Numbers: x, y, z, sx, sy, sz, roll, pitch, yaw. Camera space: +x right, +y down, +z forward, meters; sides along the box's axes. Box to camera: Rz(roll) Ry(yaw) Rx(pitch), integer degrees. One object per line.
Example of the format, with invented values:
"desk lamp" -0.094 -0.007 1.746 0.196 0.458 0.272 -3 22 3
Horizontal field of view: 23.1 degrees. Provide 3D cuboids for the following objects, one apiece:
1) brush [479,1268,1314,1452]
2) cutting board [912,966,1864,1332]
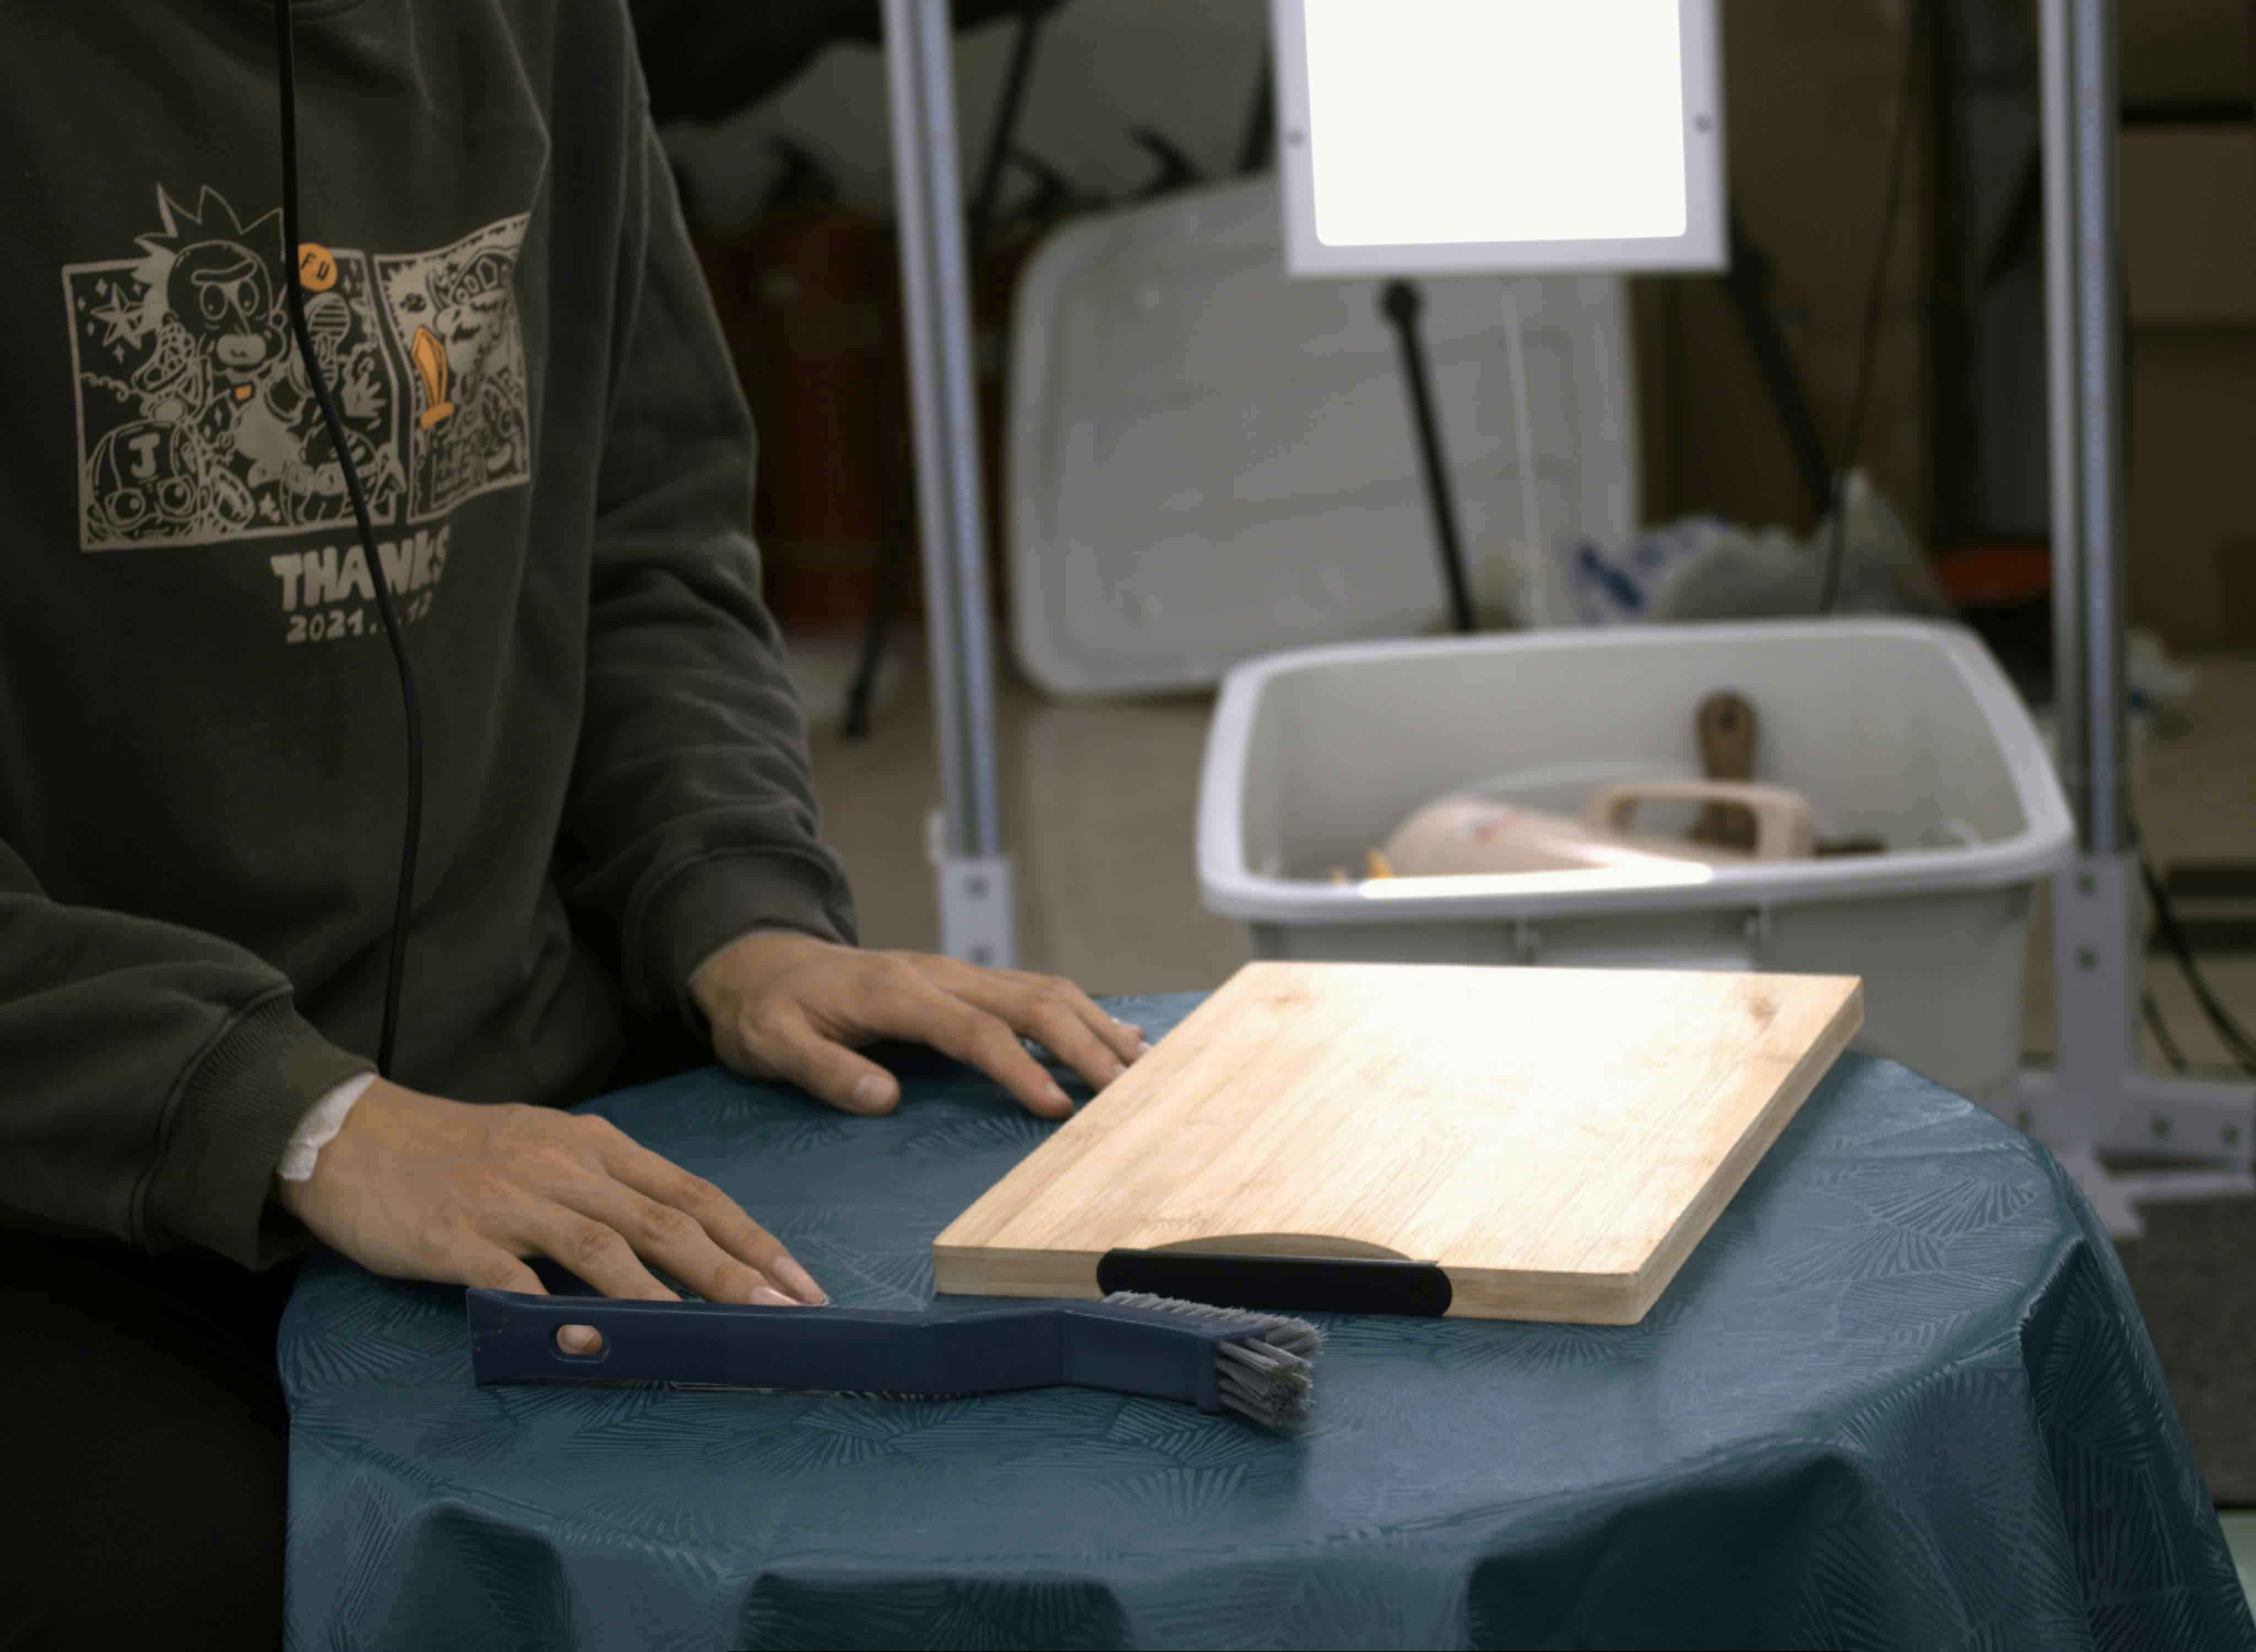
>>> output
"brush" -0.078 0.163 1.710 0.275 0.033 0.094 -1 15 13
"cutting board" 0.101 0.107 1.907 0.254 0.023 0.342 -1 14 20
